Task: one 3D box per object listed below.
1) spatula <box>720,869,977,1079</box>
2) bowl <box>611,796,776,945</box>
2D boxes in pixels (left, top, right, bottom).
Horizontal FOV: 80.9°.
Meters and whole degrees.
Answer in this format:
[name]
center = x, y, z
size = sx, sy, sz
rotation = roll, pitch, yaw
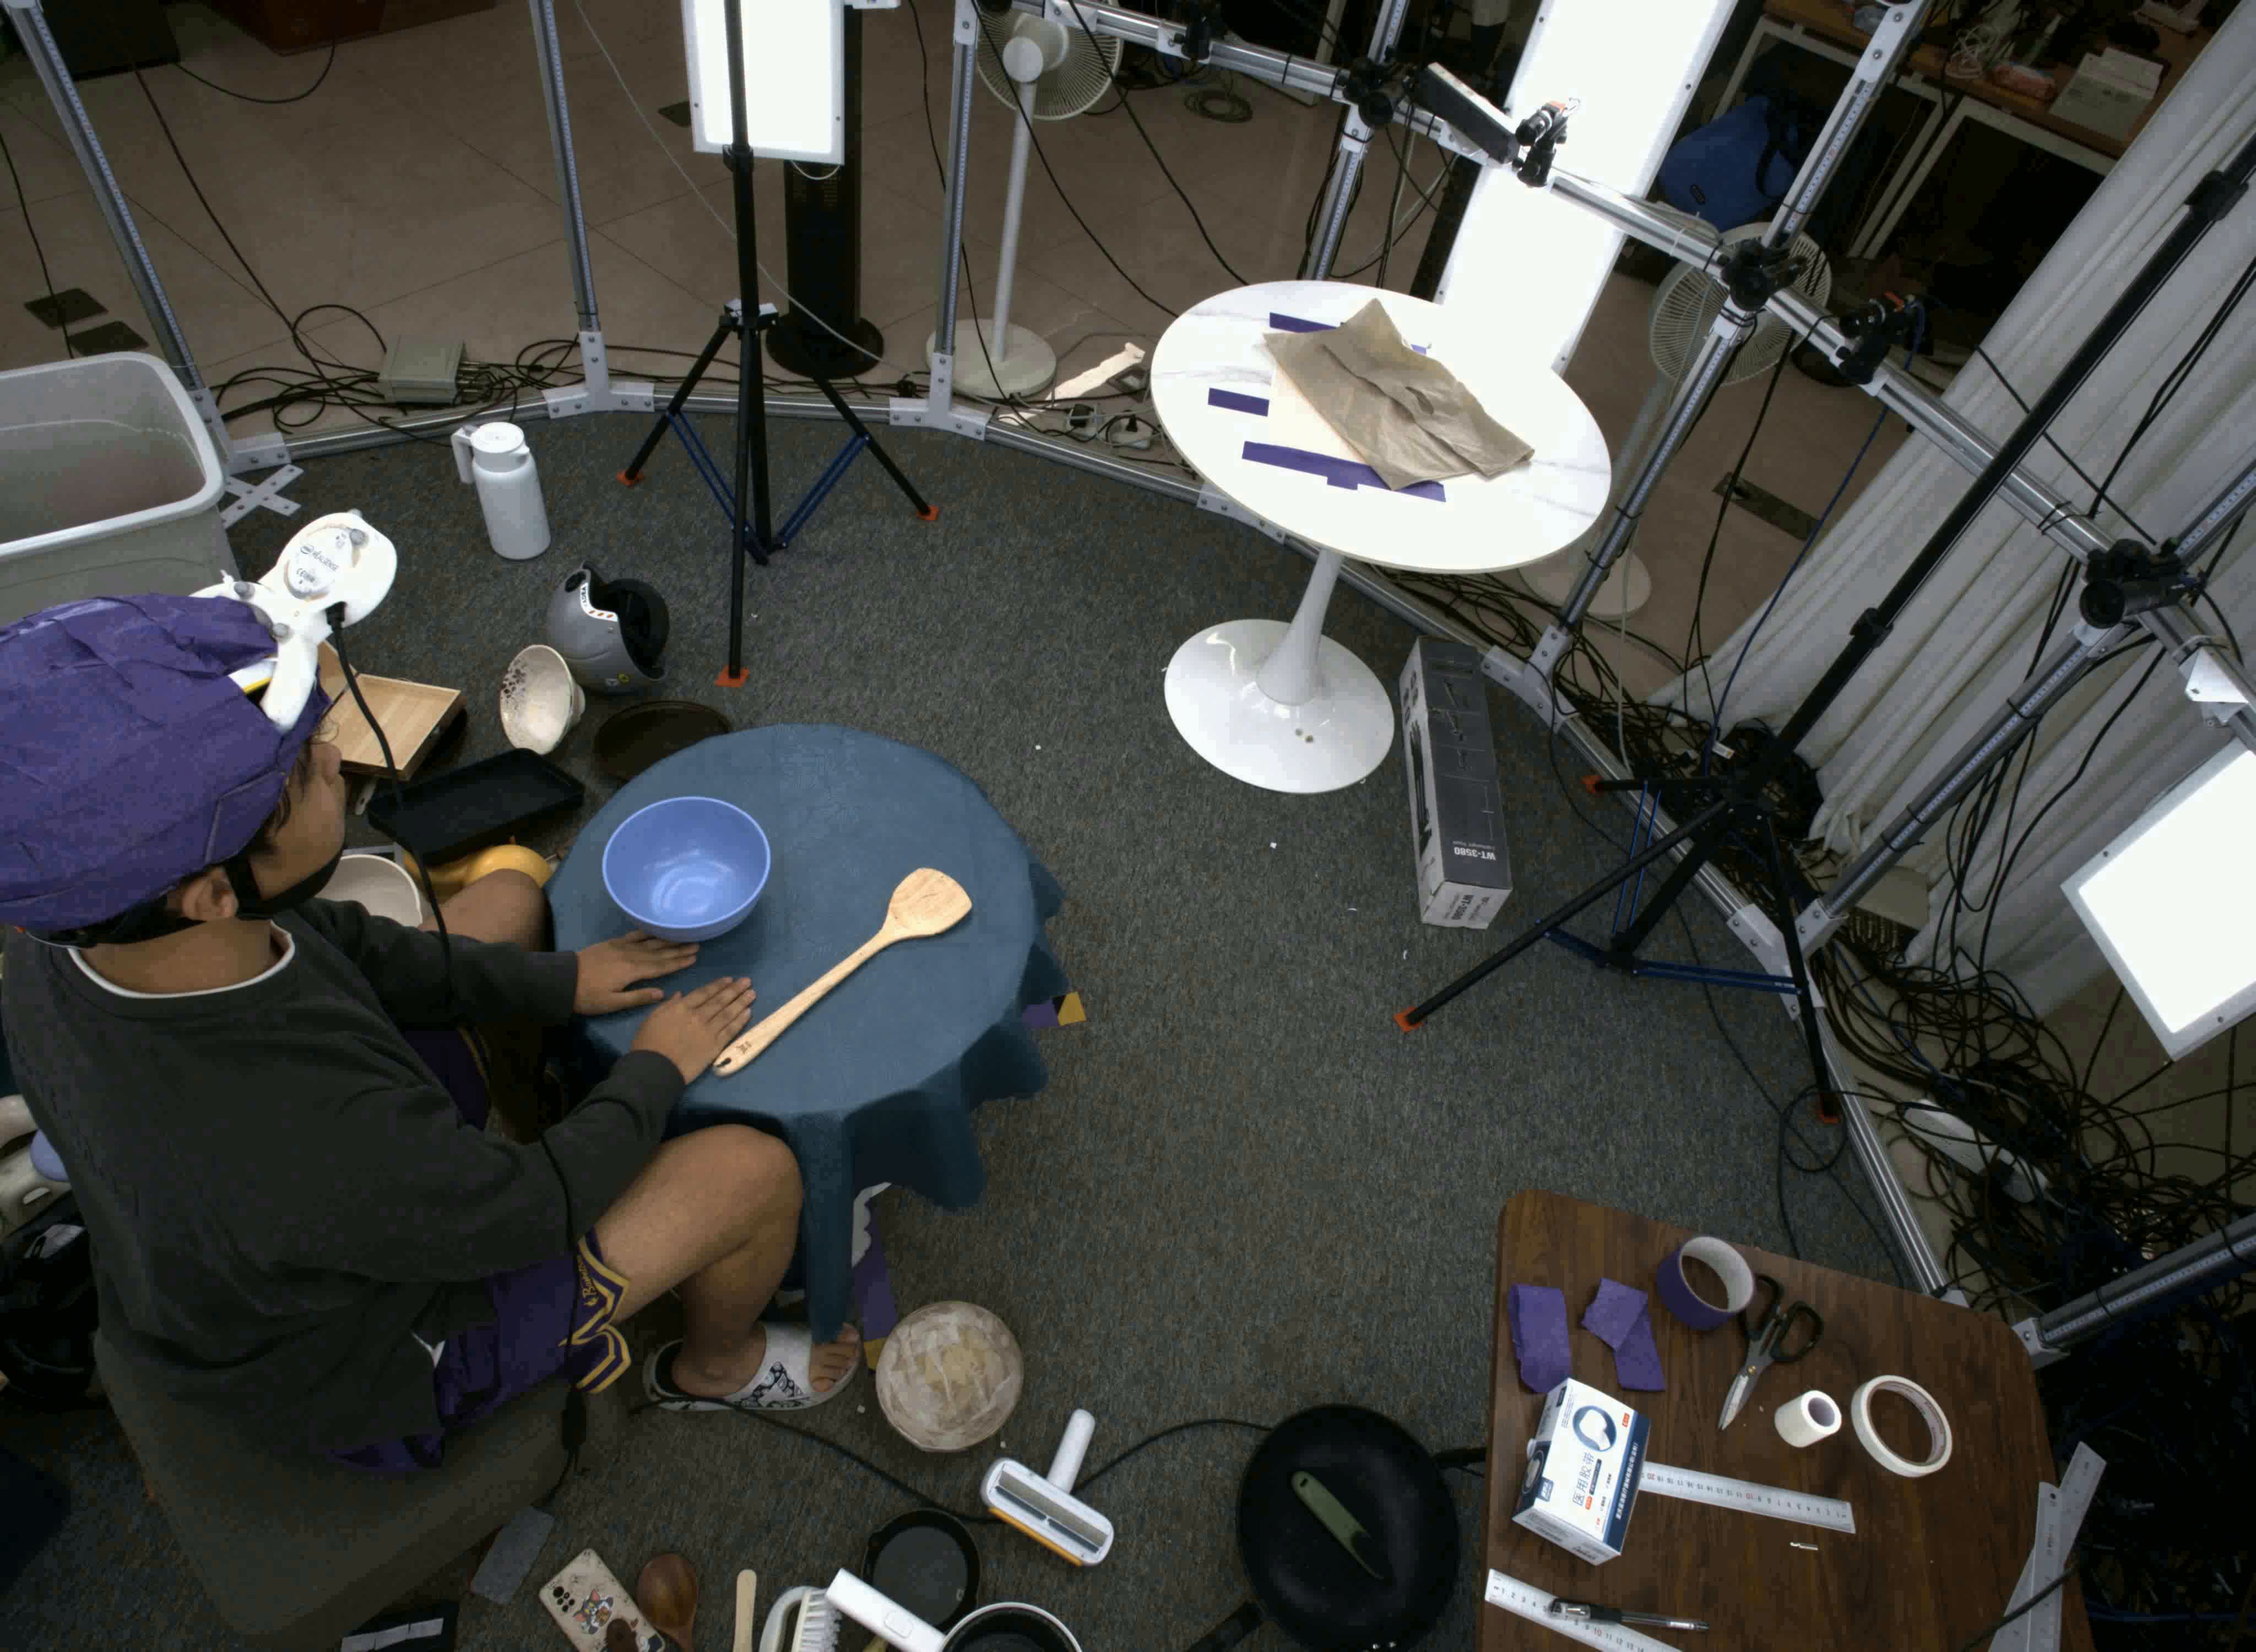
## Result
[spatula]
center = -0.343, 0.181, 1.603
size = 0.093, 0.019, 0.391
rotation = 38, 54, 17
[bowl]
center = -0.534, 0.069, 1.591
size = 0.196, 0.097, 0.193
rotation = 9, 53, -10
